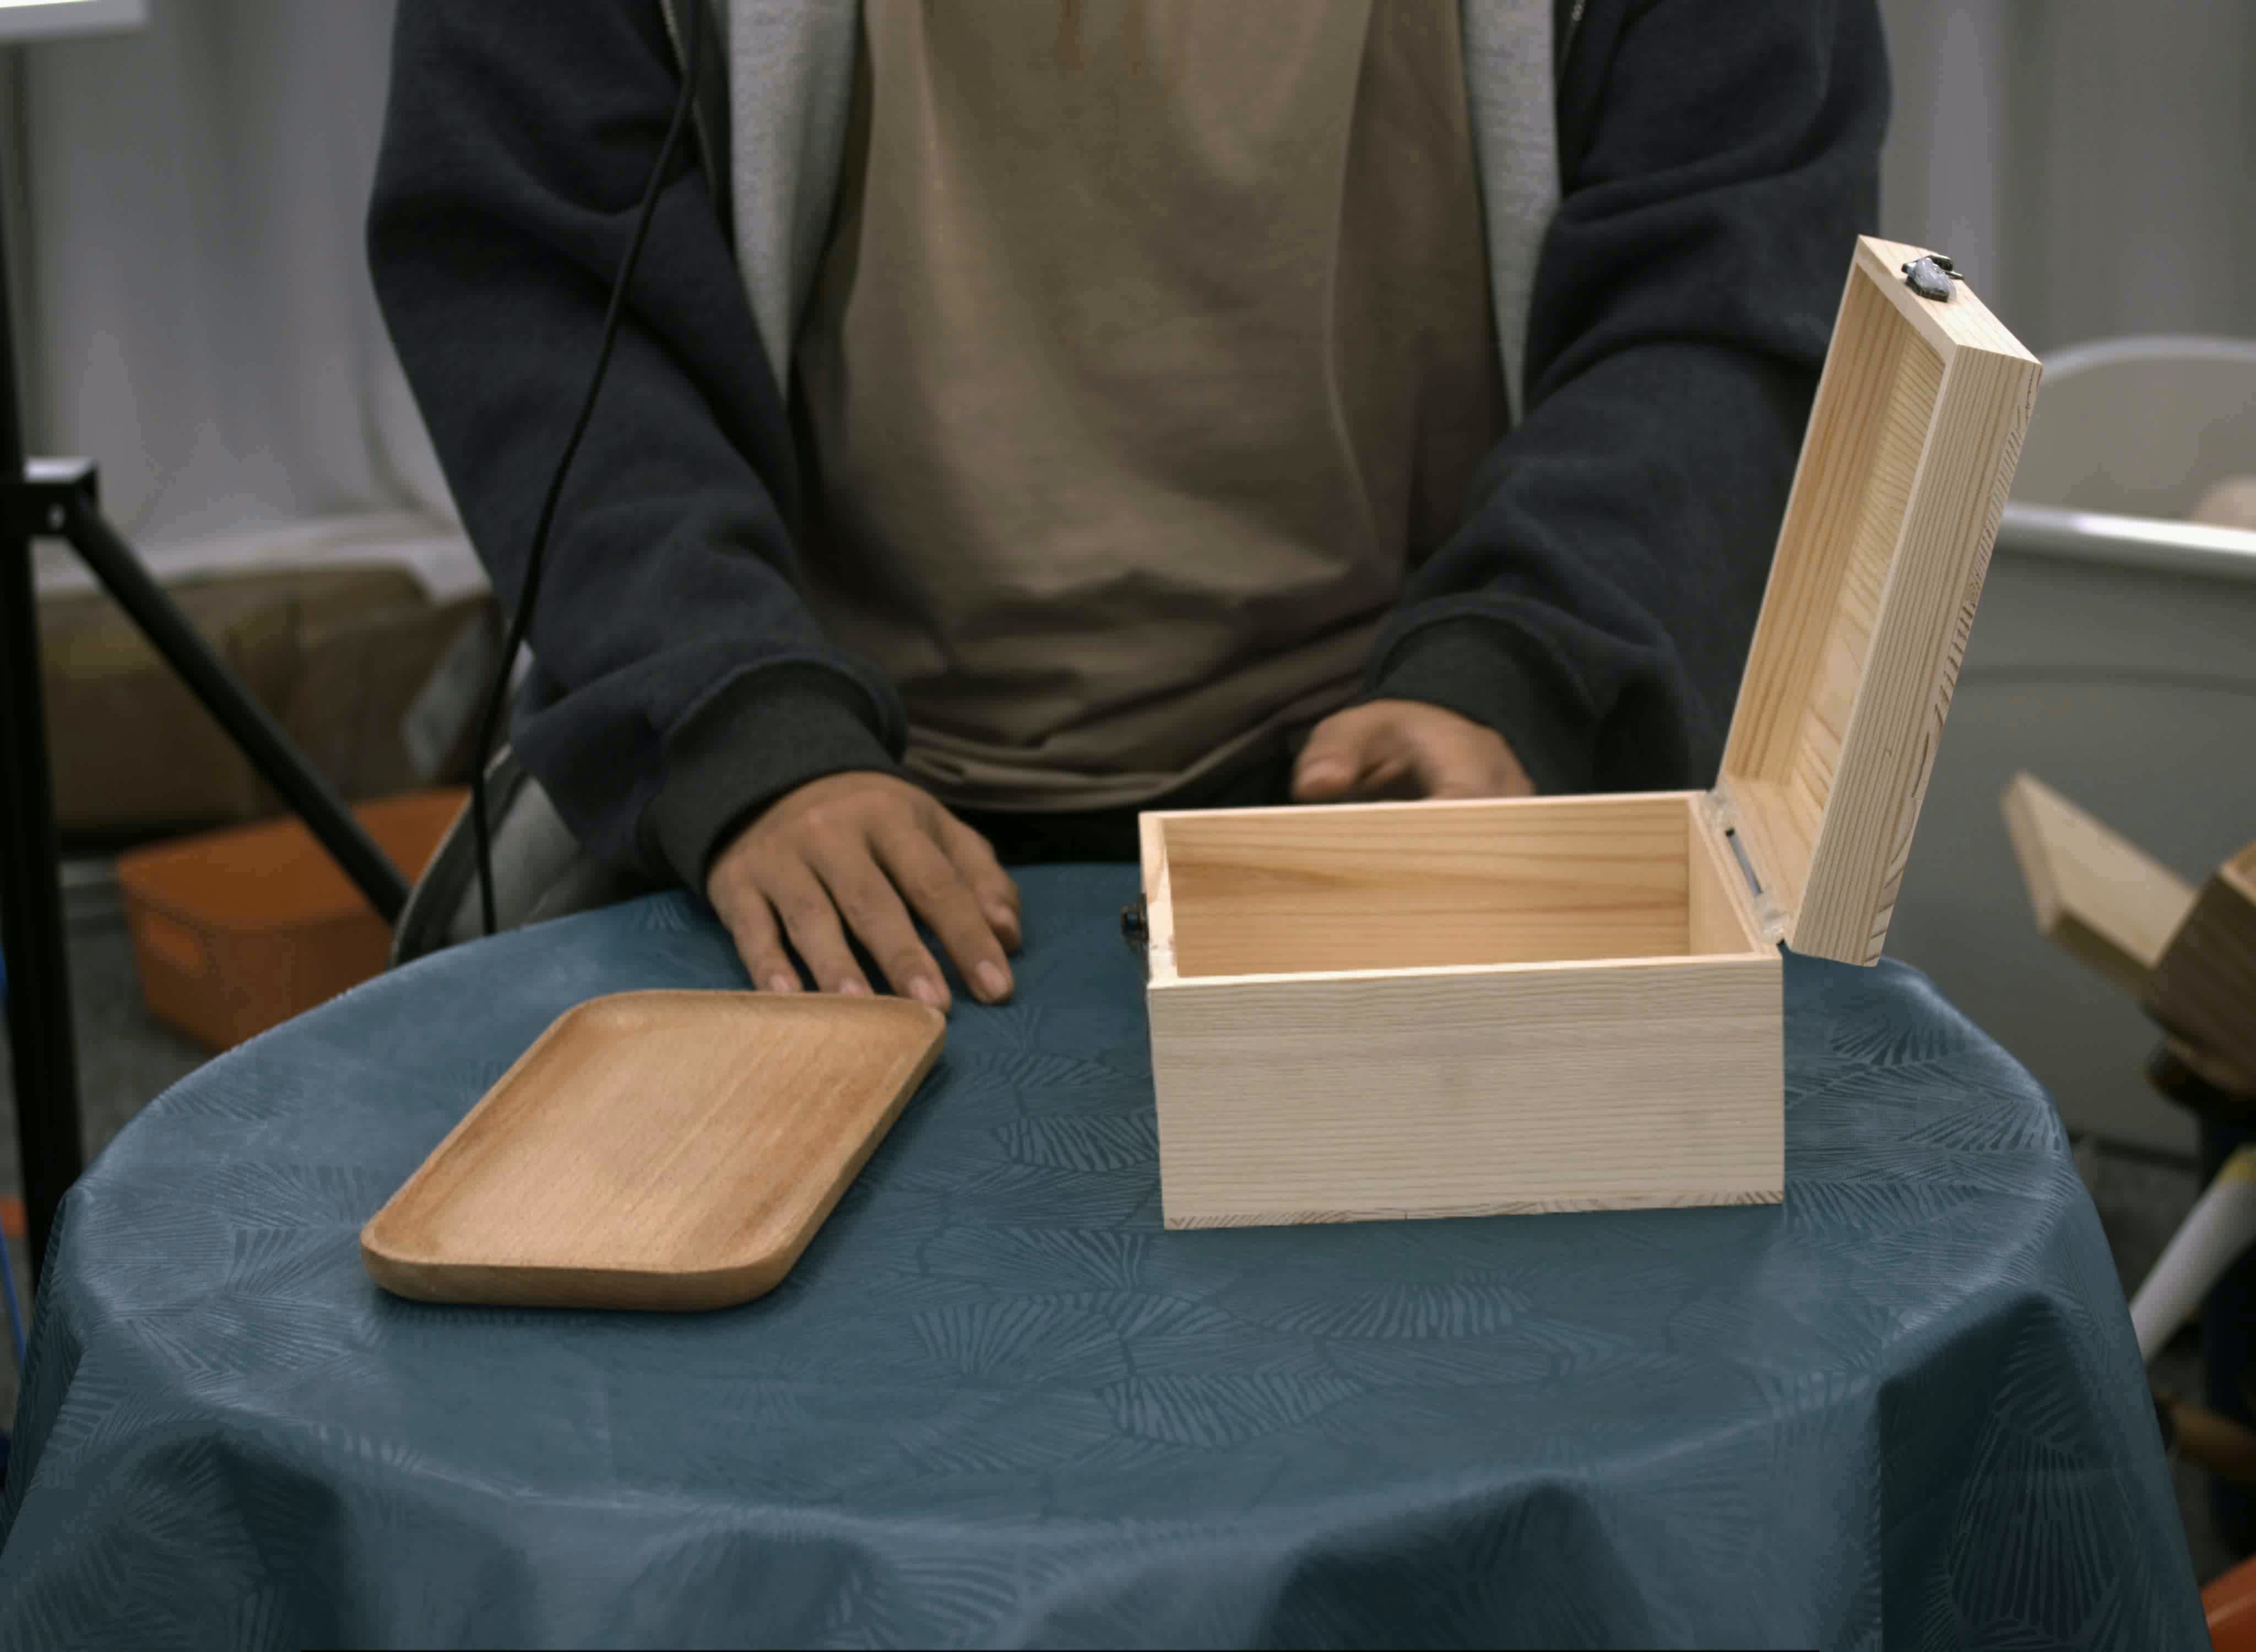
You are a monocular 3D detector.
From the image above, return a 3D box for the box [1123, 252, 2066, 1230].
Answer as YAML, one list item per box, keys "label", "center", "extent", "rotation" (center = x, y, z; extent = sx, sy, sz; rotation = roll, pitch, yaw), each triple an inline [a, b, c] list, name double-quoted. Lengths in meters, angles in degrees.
- label: "box"
  center: [0.129, -0.030, 1.580]
  extent: [0.264, 0.253, 0.182]
  rotation: [-1, 13, 0]

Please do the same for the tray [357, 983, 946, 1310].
- label: "tray"
  center: [-0.138, 0.094, 1.601]
  extent: [0.131, 0.023, 0.249]
  rotation: [3, 16, 11]
